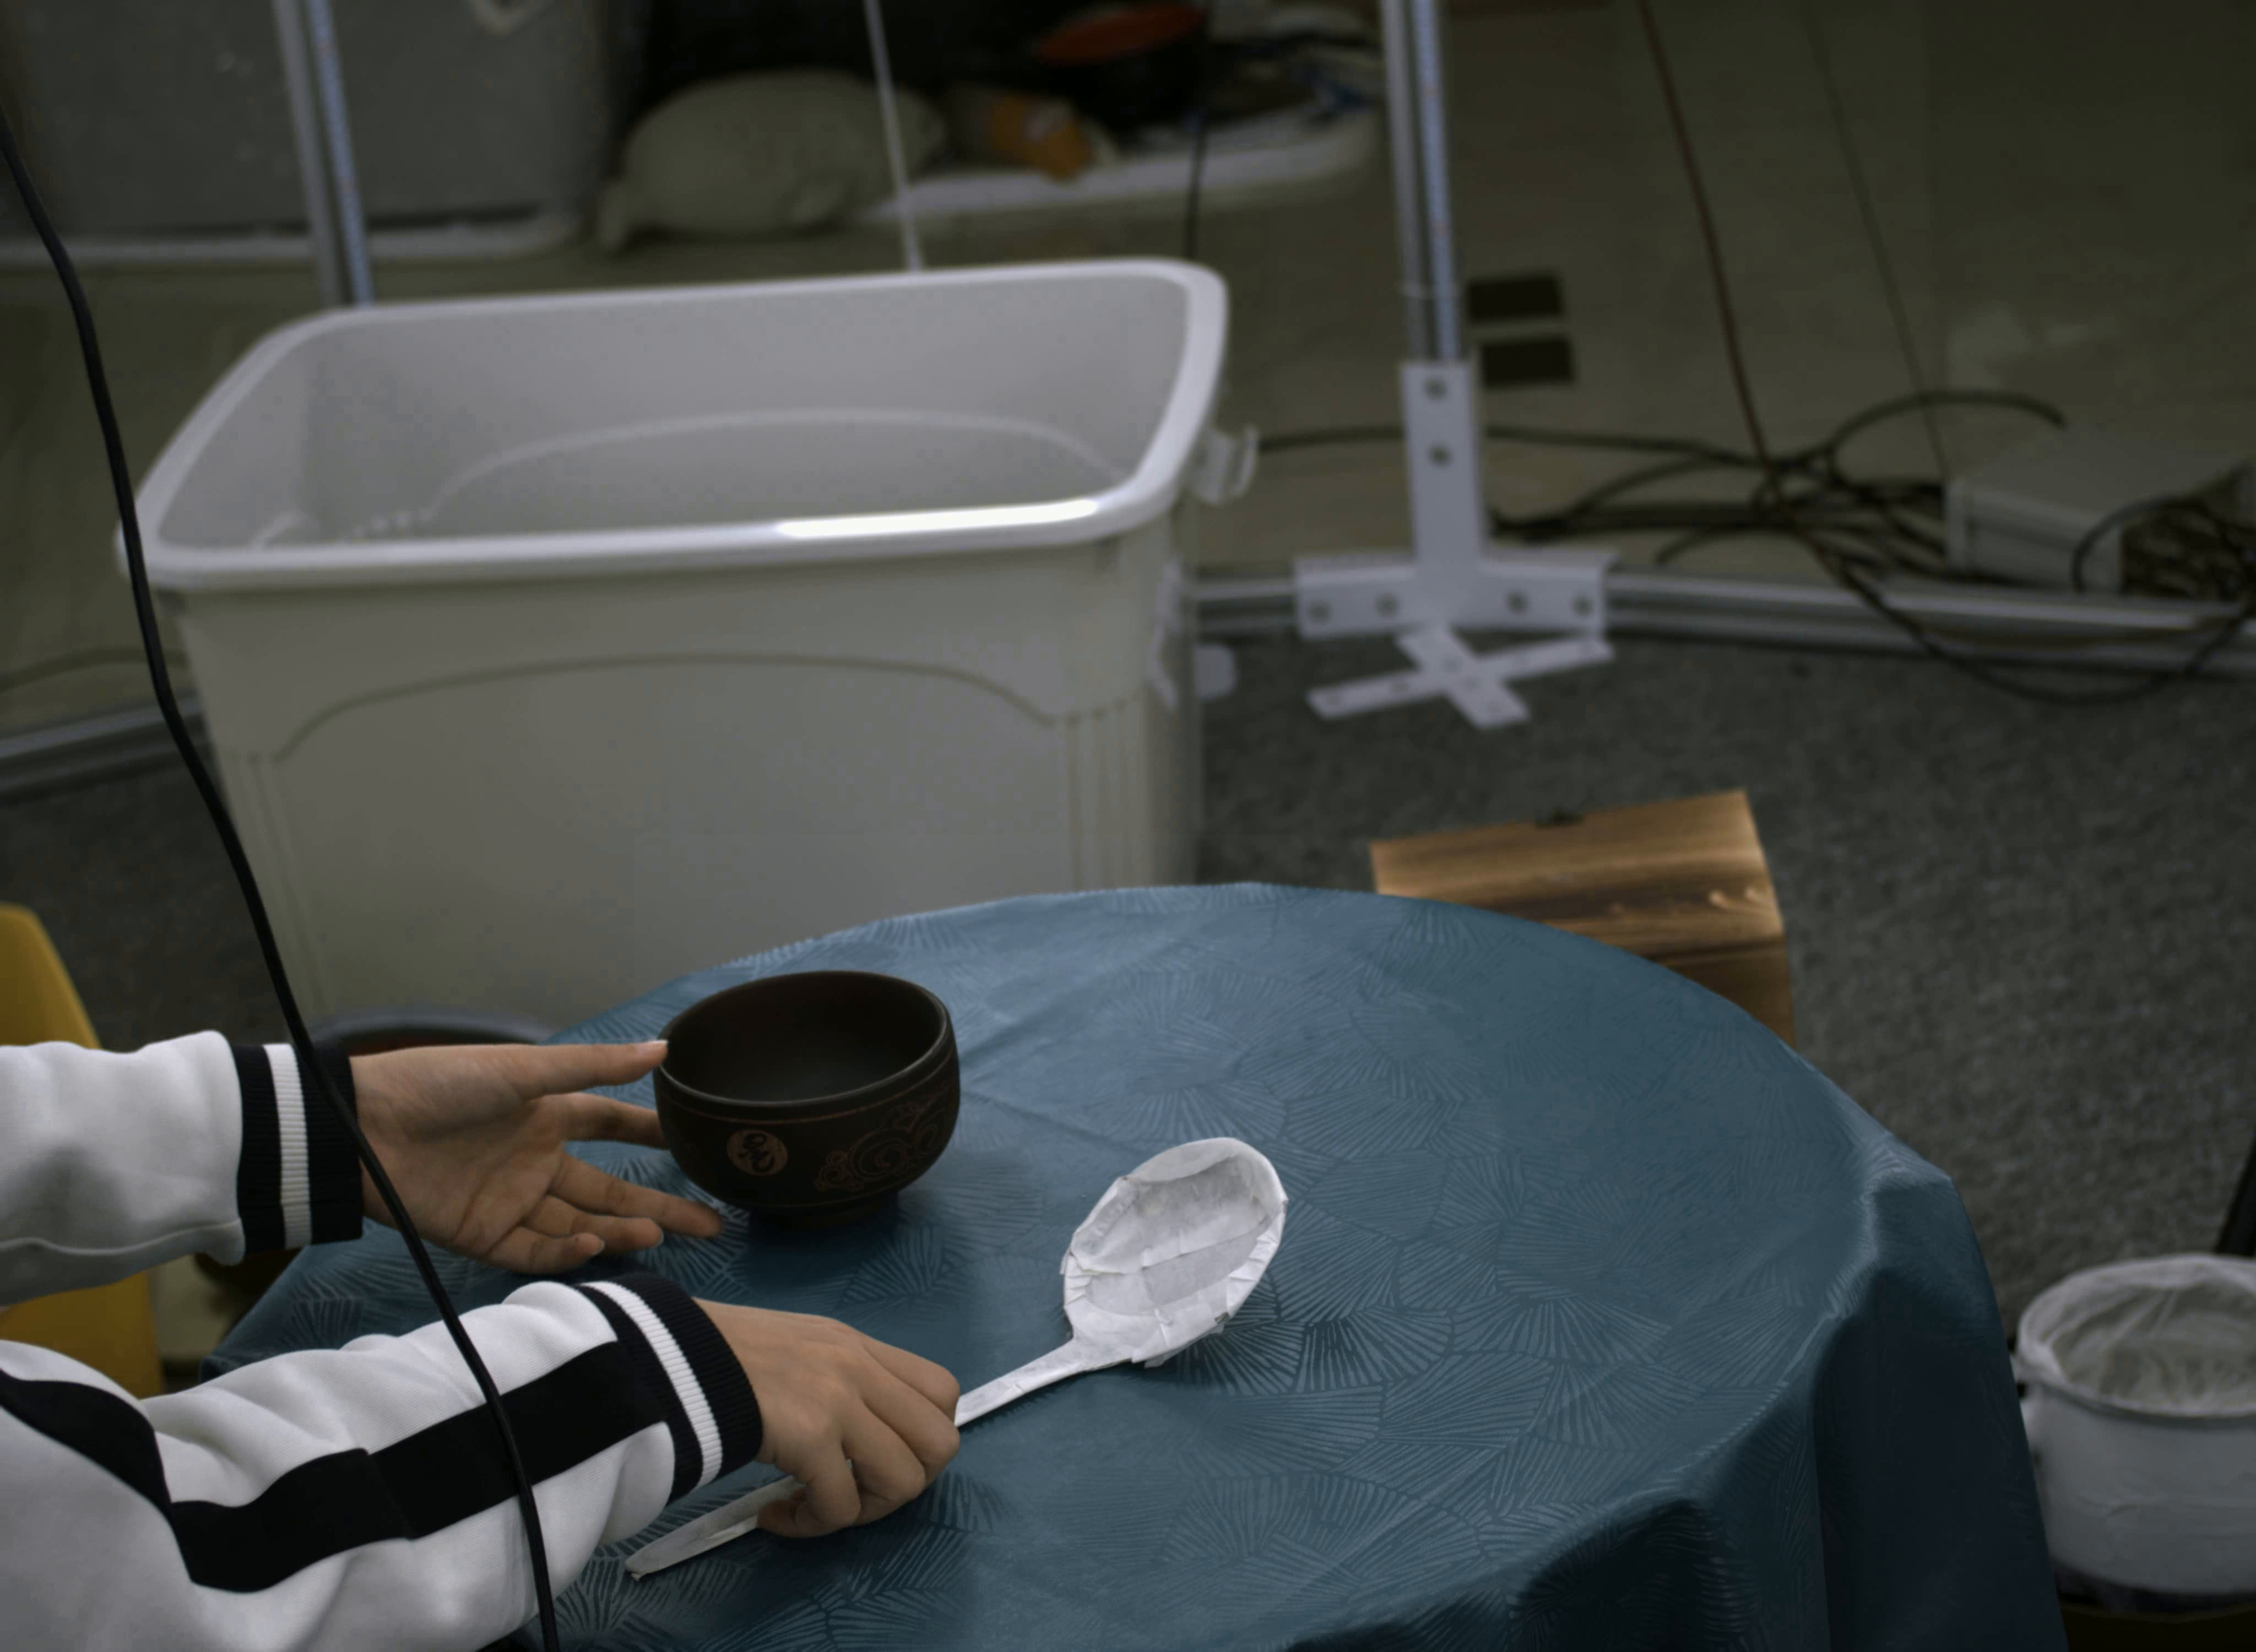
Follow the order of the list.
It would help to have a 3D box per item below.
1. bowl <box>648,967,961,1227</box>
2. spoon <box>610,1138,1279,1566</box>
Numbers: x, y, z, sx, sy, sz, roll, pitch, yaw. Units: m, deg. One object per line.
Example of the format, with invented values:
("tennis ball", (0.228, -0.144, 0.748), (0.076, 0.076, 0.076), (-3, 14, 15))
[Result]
("bowl", (-0.120, 0.109, 2.155), (0.118, 0.071, 0.116), (-6, 25, 3))
("spoon", (-0.068, 0.183, 2.002), (0.276, 0.060, 0.100), (-21, 26, -28))
